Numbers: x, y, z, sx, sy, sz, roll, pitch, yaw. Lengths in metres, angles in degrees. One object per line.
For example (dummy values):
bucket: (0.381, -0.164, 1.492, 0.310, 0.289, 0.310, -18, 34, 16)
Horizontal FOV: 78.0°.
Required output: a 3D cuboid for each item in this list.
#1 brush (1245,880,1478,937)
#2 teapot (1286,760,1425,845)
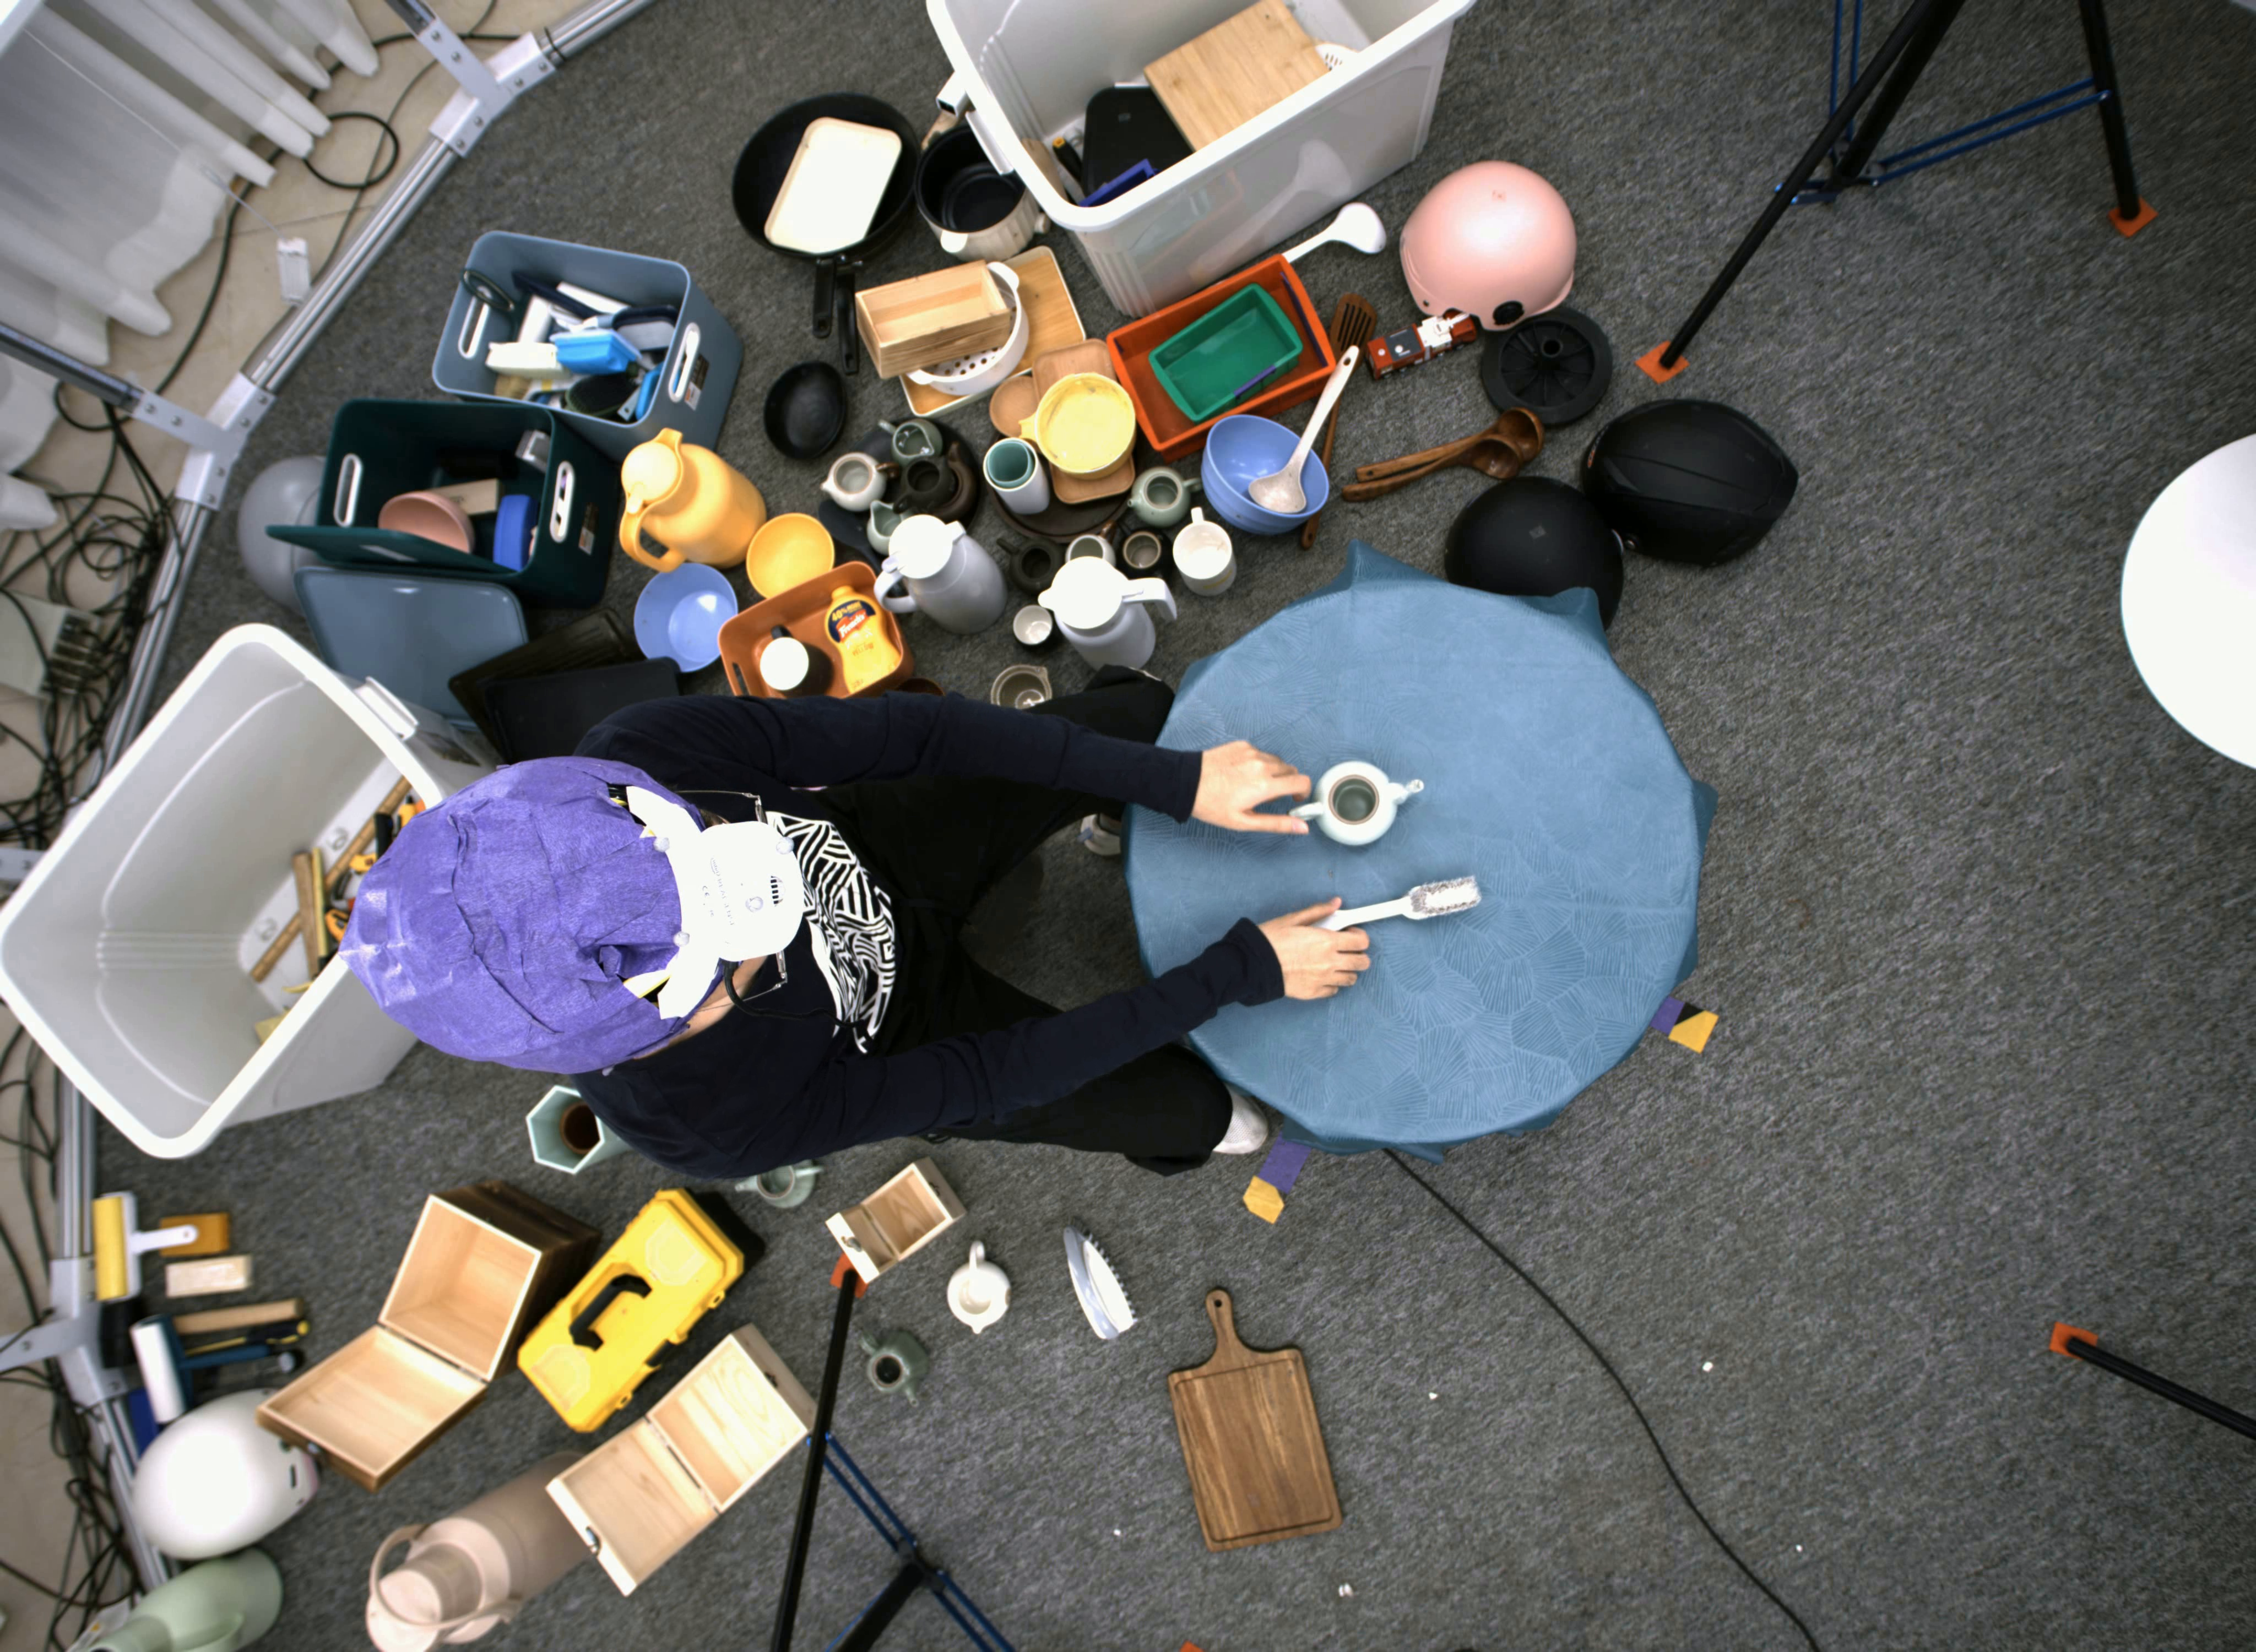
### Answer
brush: (0.241, 0.087, 1.439, 0.245, 0.050, 0.034, -9, 89, 10)
teapot: (0.235, -0.025, 1.434, 0.144, 0.075, 0.088, -10, 85, 8)
